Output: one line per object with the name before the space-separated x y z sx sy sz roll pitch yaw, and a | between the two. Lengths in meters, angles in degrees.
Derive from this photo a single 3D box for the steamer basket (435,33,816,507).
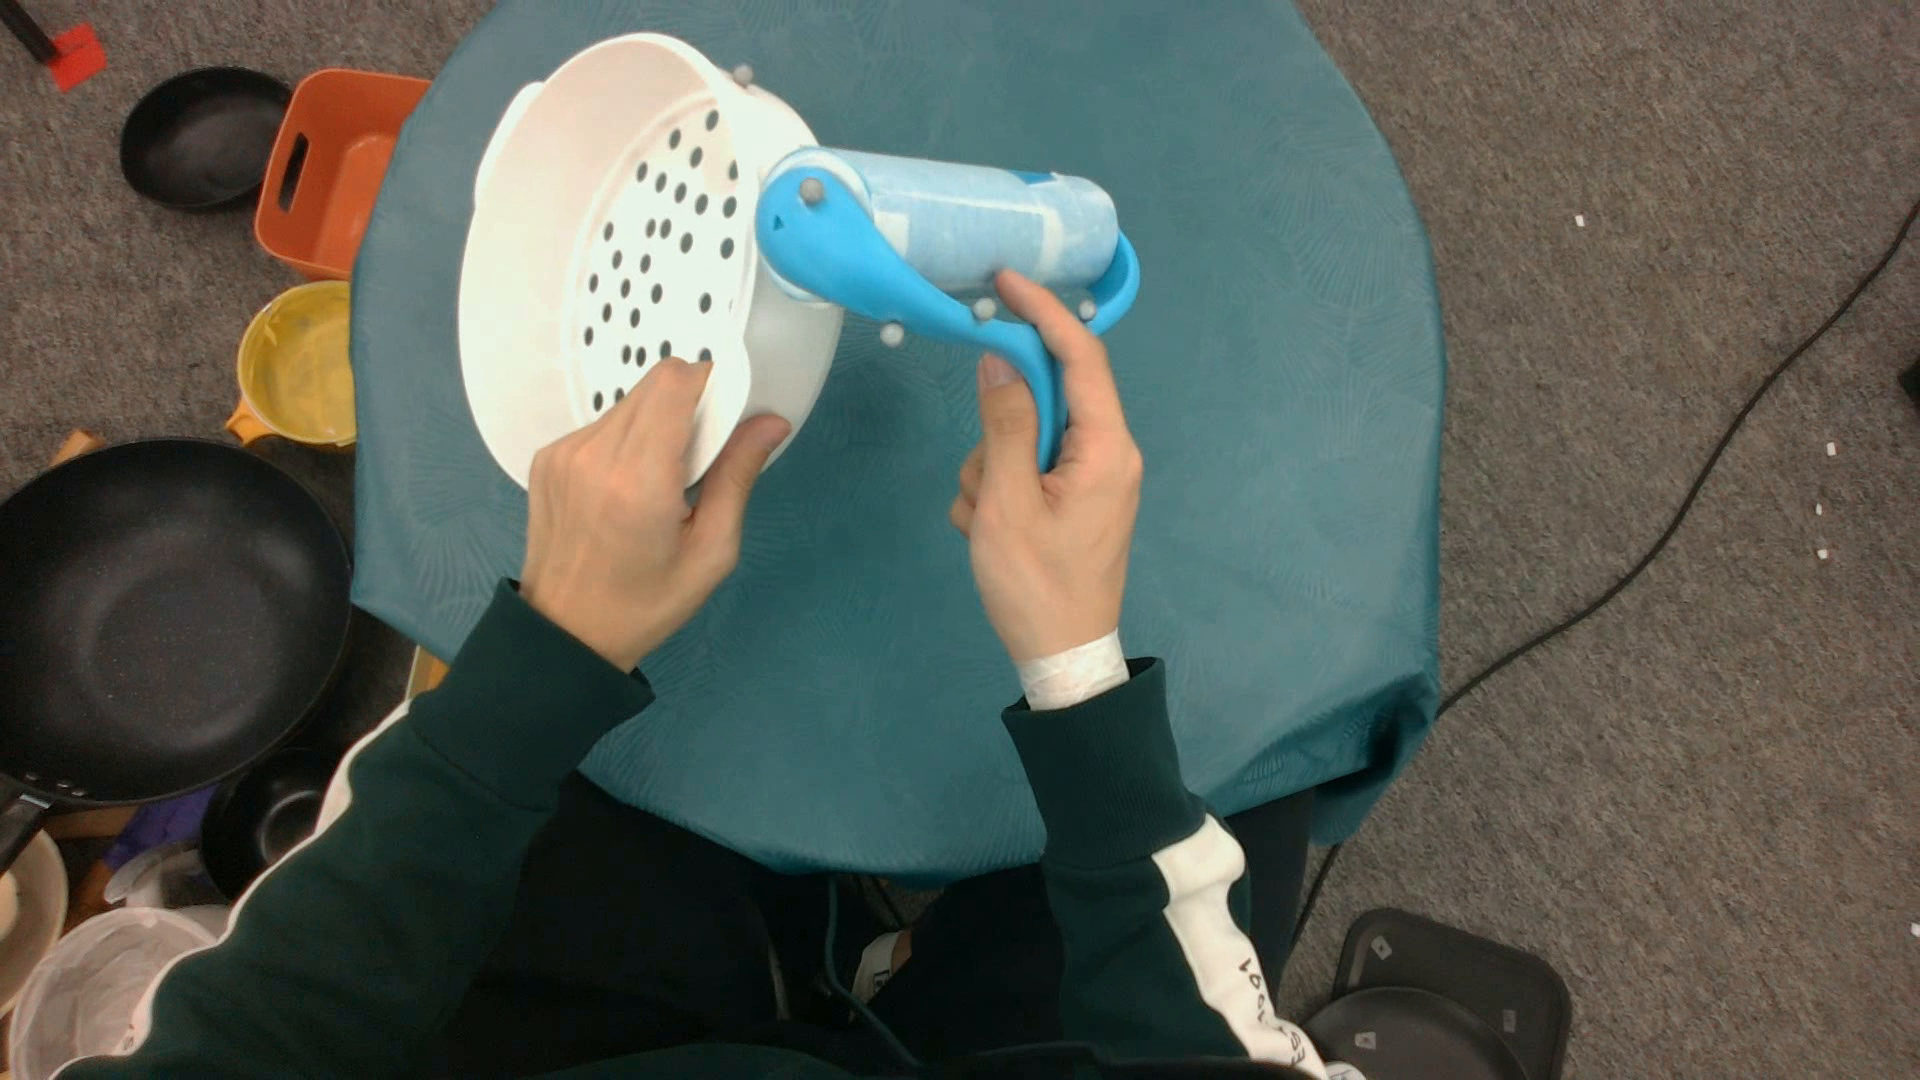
steamer basket | -0.149 -0.114 0.610 0.231 0.069 0.201 48 116 29

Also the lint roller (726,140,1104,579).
lint roller | 0.004 -0.076 0.563 0.067 0.230 0.180 -13 98 30
